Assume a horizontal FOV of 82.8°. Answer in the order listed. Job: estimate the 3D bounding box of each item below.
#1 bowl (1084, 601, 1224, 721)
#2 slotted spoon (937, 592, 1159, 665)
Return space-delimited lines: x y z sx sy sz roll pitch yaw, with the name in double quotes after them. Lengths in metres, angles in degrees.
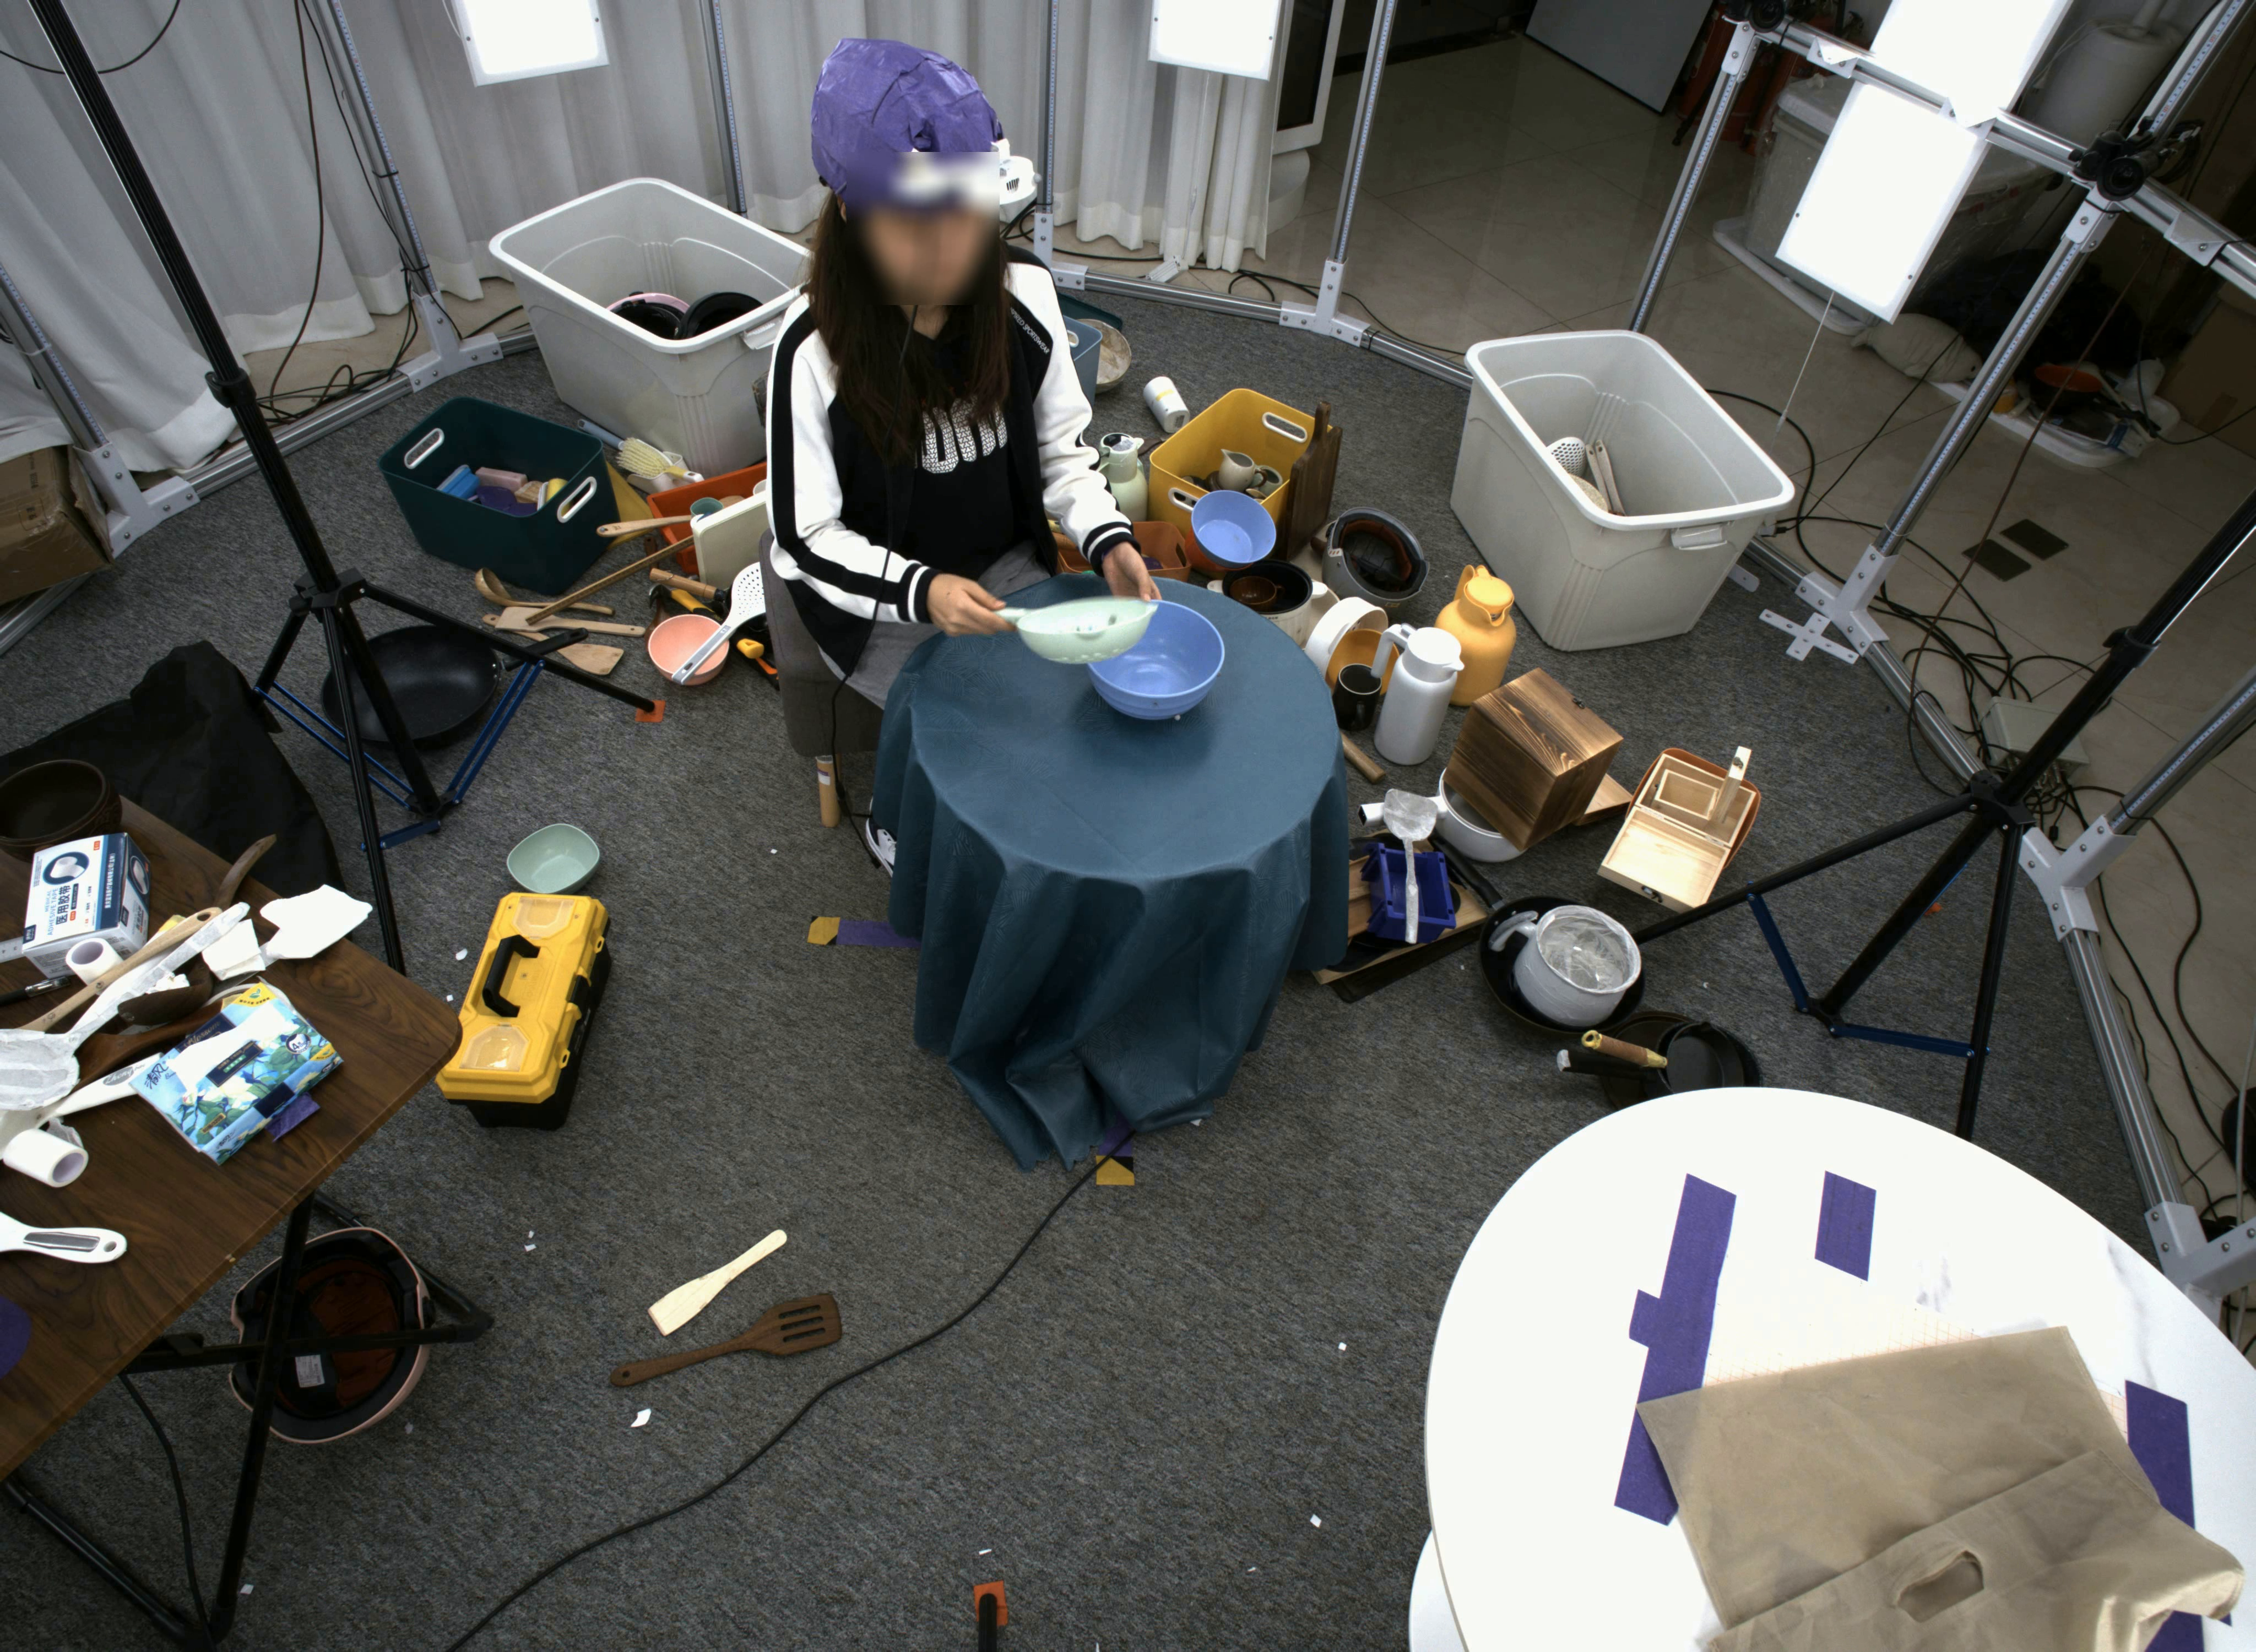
0.032 -0.217 1.799 0.196 0.093 0.201 2 49 -2 "bowl"
-0.125 -0.267 1.670 0.363 0.074 0.171 19 36 35 "slotted spoon"
